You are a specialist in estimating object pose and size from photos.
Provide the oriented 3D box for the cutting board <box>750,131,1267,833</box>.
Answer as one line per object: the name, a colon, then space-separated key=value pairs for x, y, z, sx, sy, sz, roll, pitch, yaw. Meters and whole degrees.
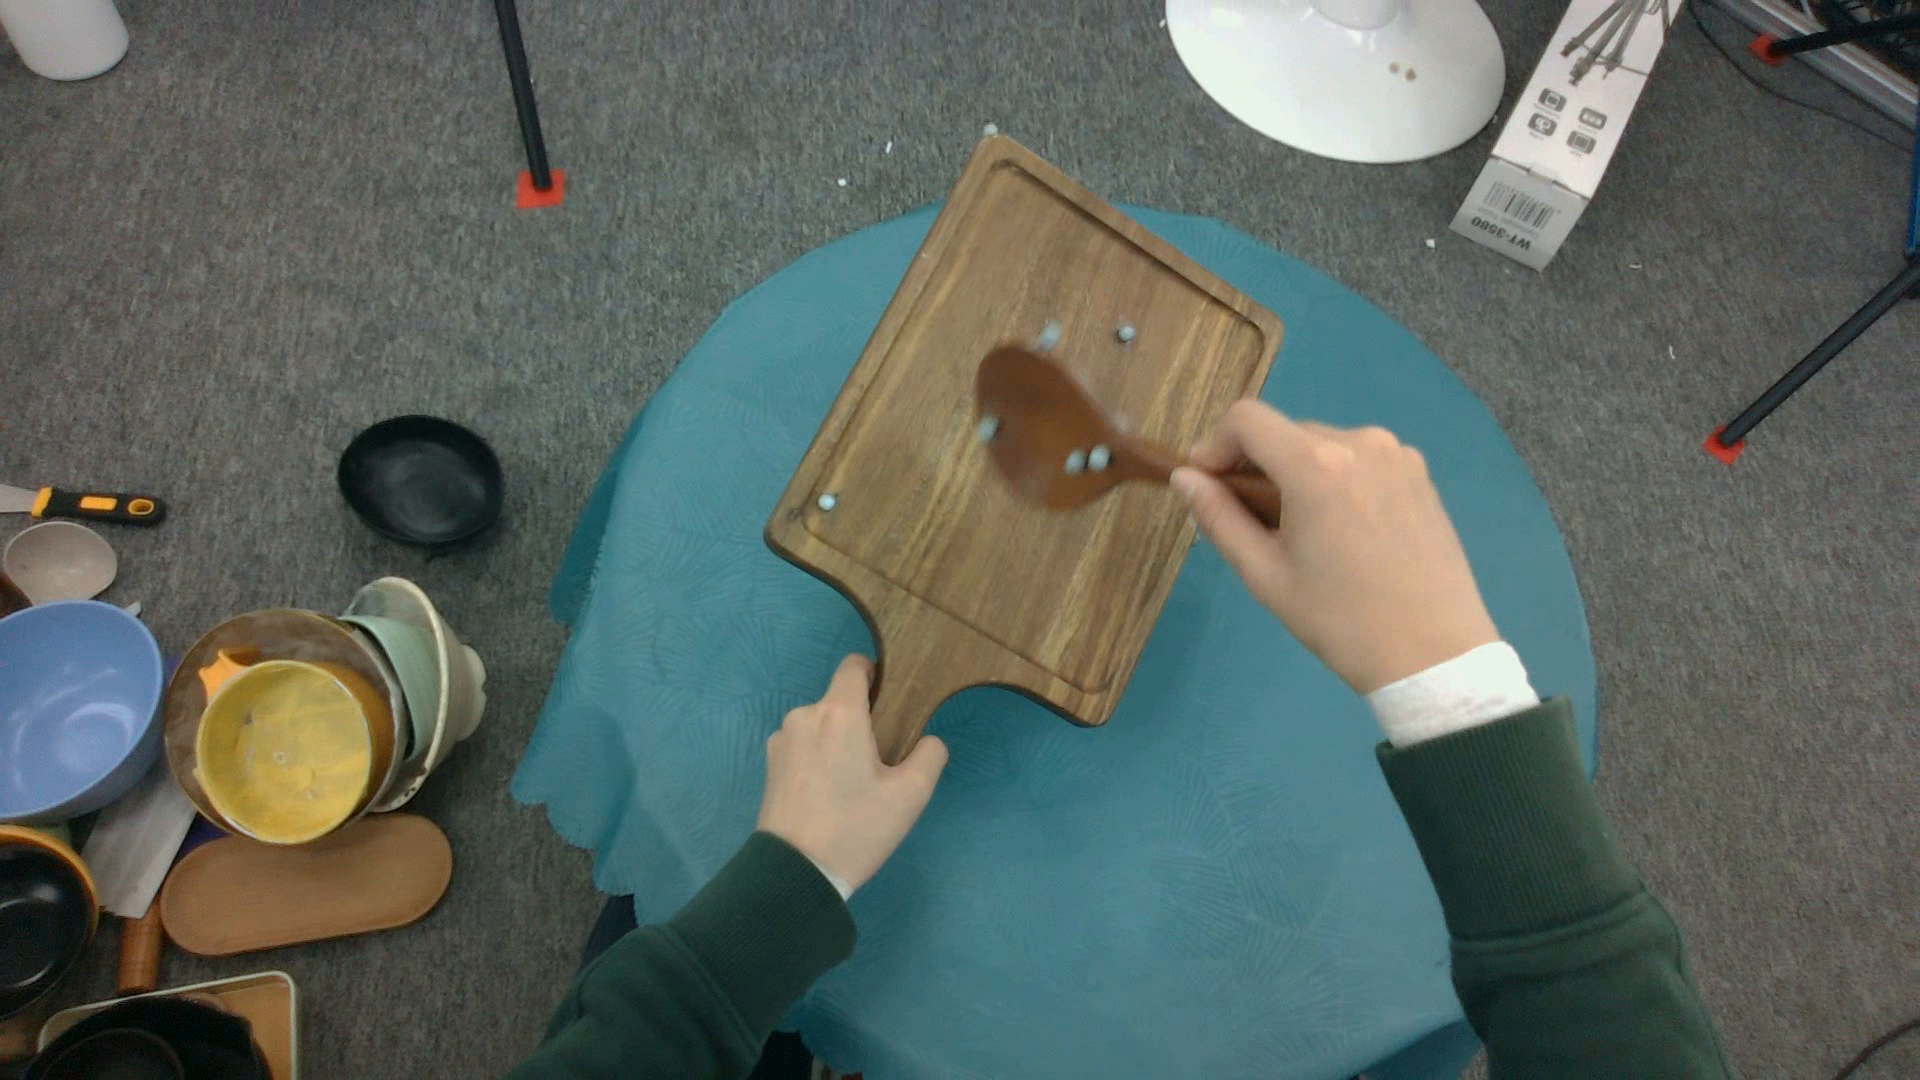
cutting board: x=0.014 y=-0.018 z=0.690 sx=0.201 sy=0.023 sz=0.353 roll=31 pitch=72 yaw=-13

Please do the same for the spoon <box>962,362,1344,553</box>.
spoon: x=0.067 y=-0.027 z=0.552 sx=0.017 sy=0.075 sz=0.215 roll=-14 pitch=20 yaw=-32
